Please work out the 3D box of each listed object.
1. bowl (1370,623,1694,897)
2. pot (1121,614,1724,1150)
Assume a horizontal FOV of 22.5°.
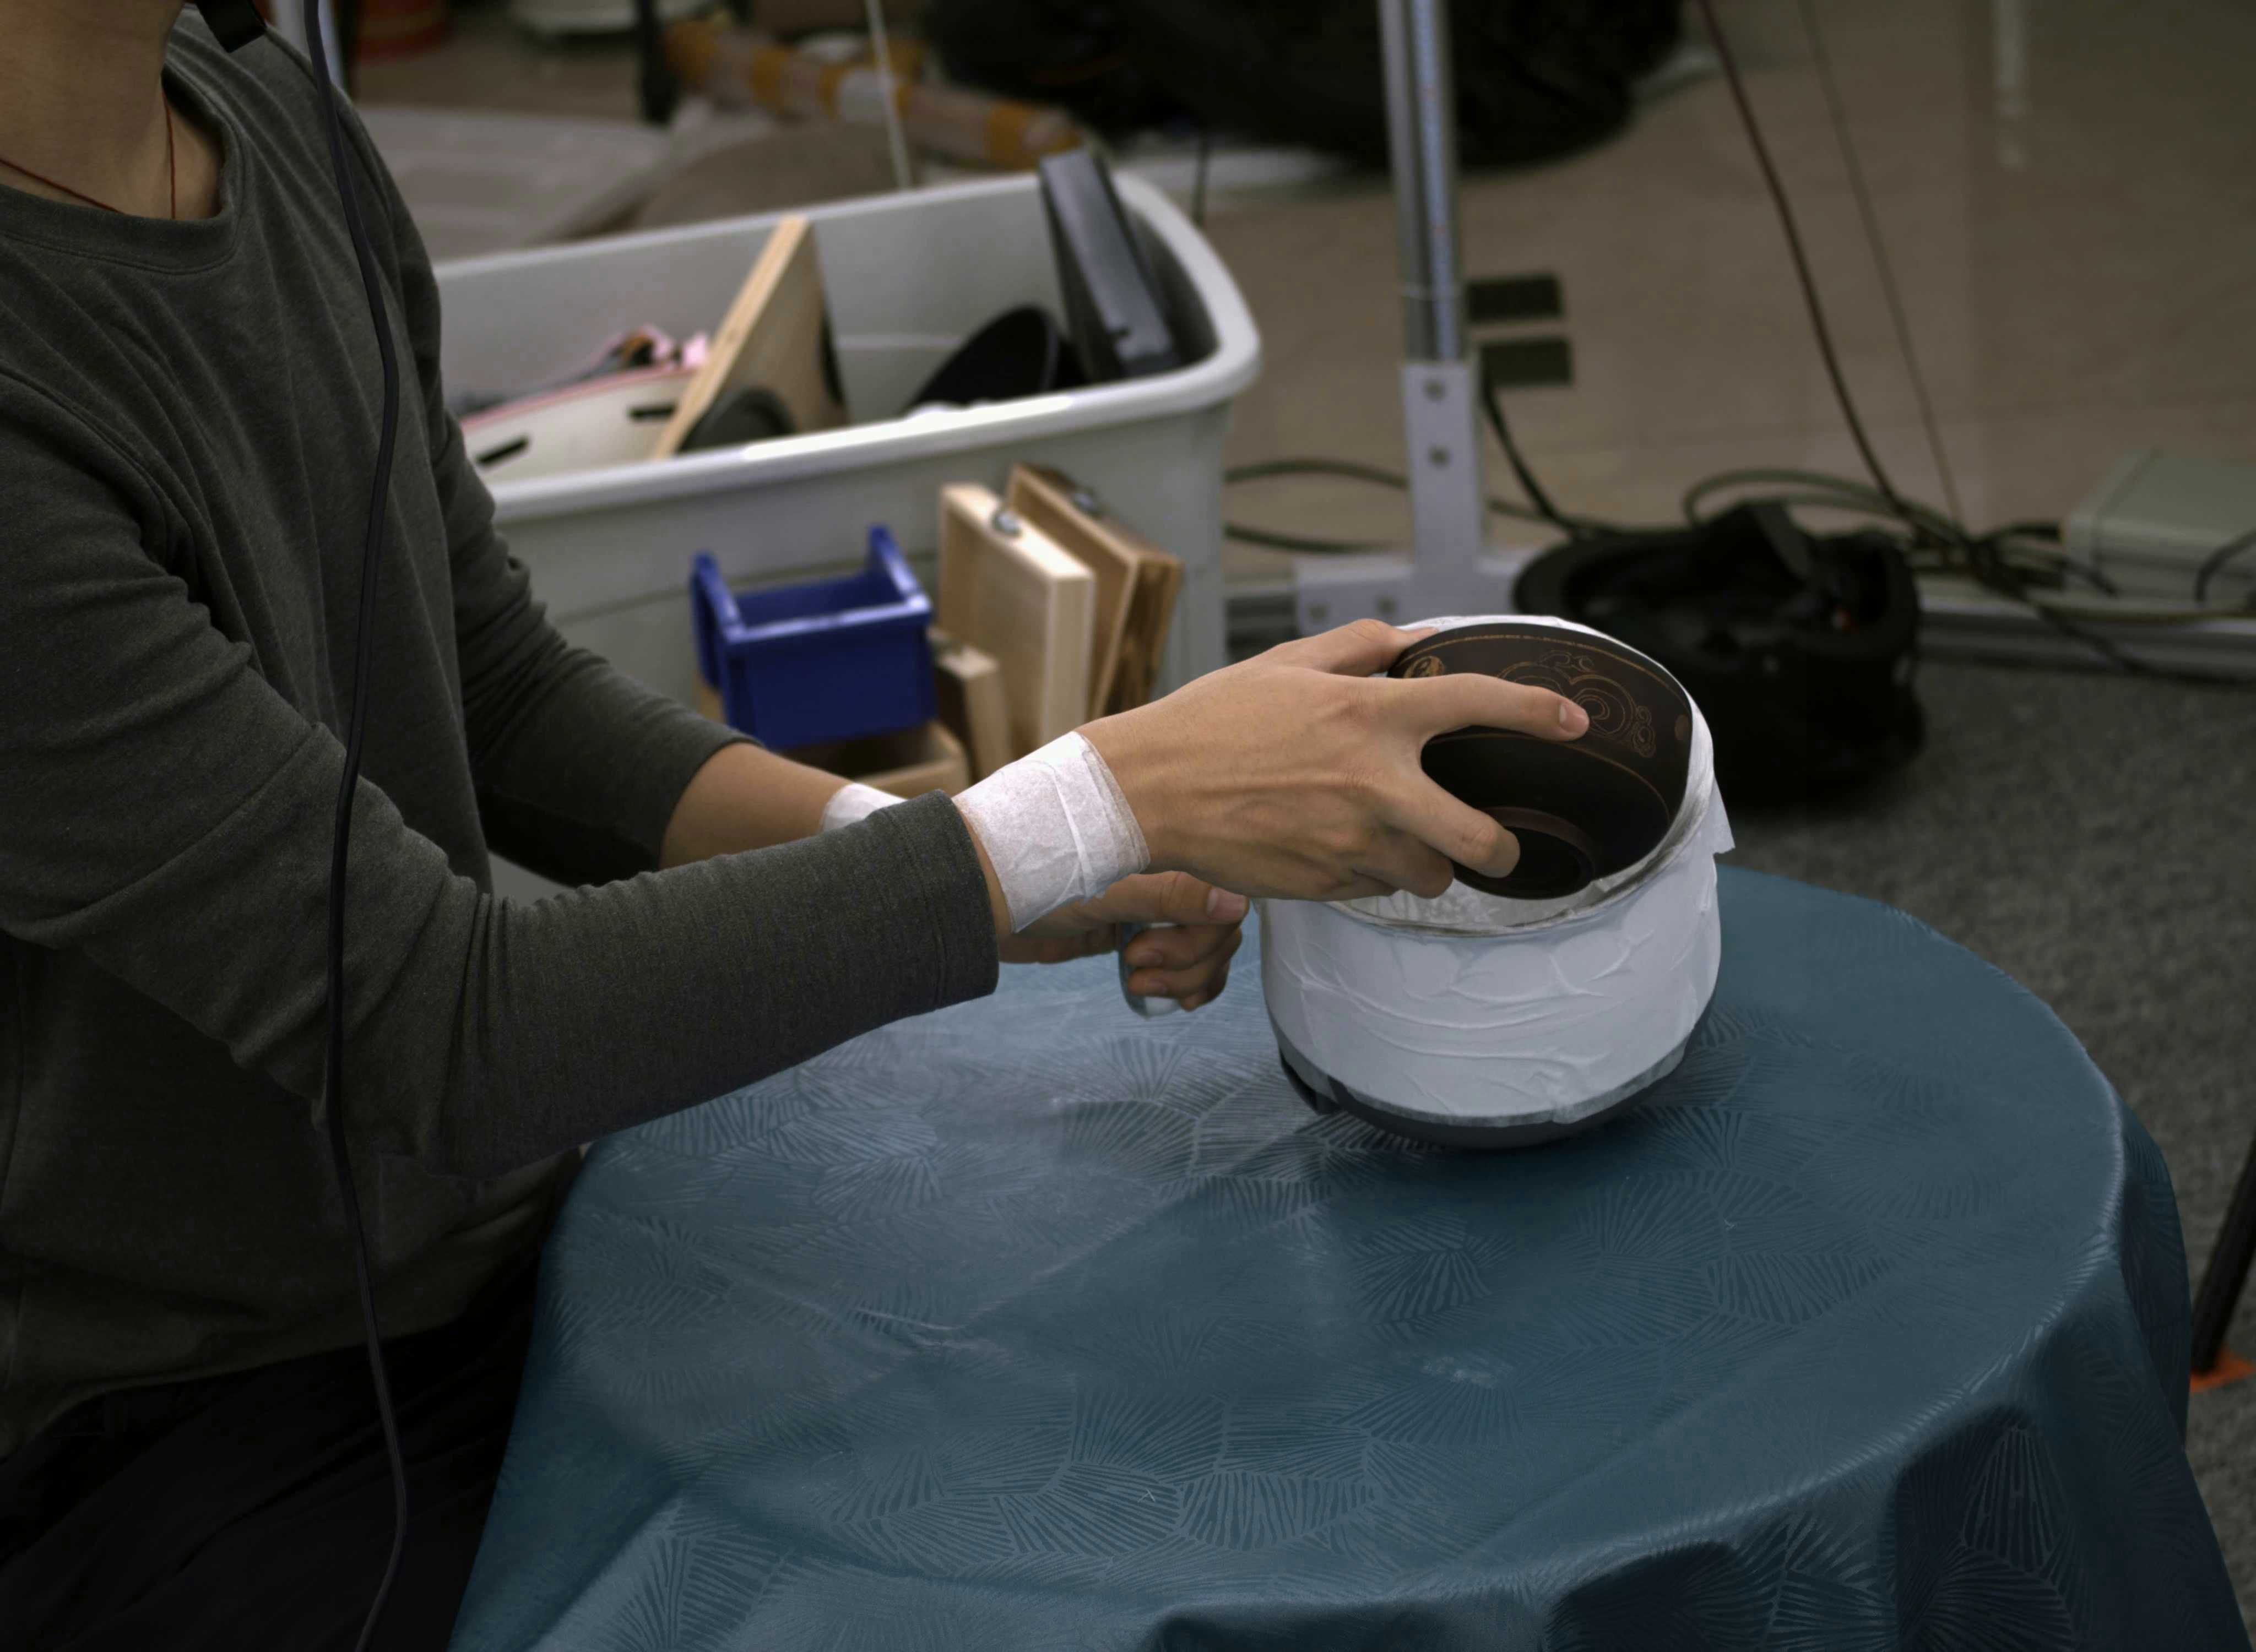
[{"bbox_3d":[0.145,-0.017,2.061,0.118,0.120,0.069,0,64,14],"label":"bowl"},{"bbox_3d":[0.110,0.026,2.164,0.233,0.139,0.175,-3,44,6],"label":"pot"}]
